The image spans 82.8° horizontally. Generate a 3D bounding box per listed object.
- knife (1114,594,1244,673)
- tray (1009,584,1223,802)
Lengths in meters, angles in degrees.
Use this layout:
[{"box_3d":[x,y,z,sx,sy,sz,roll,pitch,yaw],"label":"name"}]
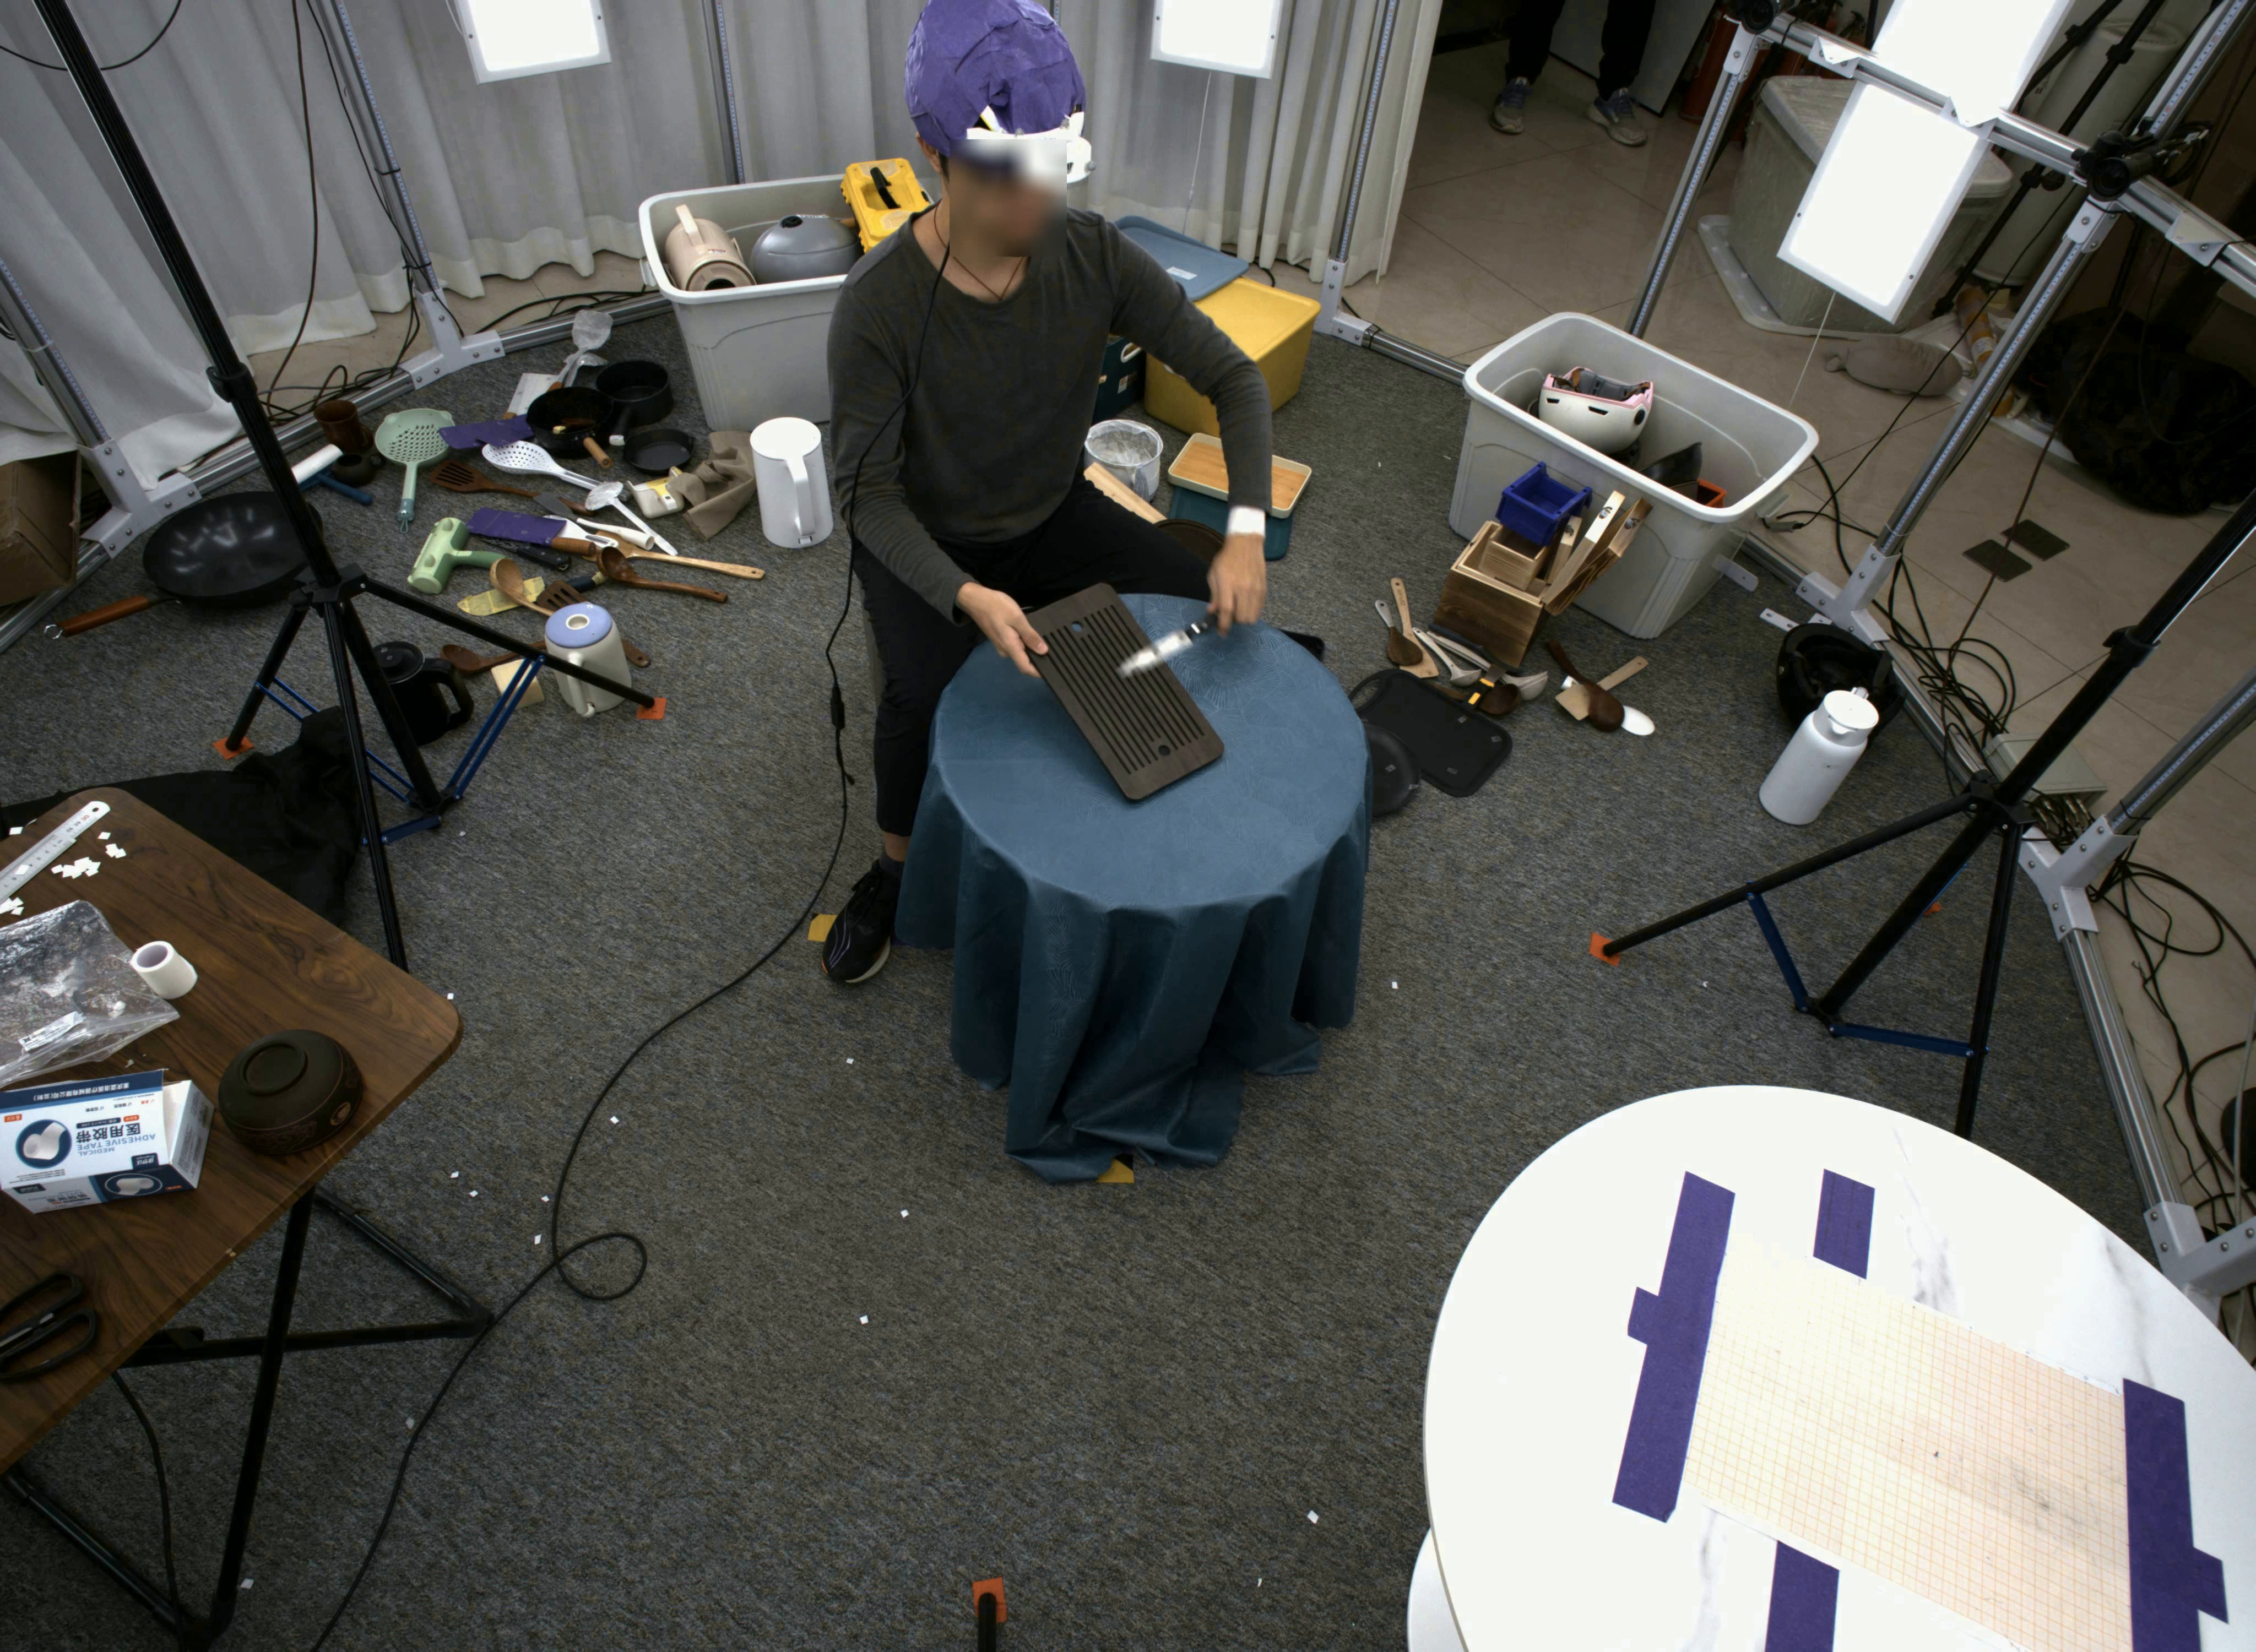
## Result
[{"box_3d":[0.071,-0.273,1.813,0.240,0.016,0.024,-33,90,-25],"label":"knife"},{"box_3d":[-0.017,-0.185,1.758,0.171,0.018,0.309,-28,75,-26],"label":"tray"}]
